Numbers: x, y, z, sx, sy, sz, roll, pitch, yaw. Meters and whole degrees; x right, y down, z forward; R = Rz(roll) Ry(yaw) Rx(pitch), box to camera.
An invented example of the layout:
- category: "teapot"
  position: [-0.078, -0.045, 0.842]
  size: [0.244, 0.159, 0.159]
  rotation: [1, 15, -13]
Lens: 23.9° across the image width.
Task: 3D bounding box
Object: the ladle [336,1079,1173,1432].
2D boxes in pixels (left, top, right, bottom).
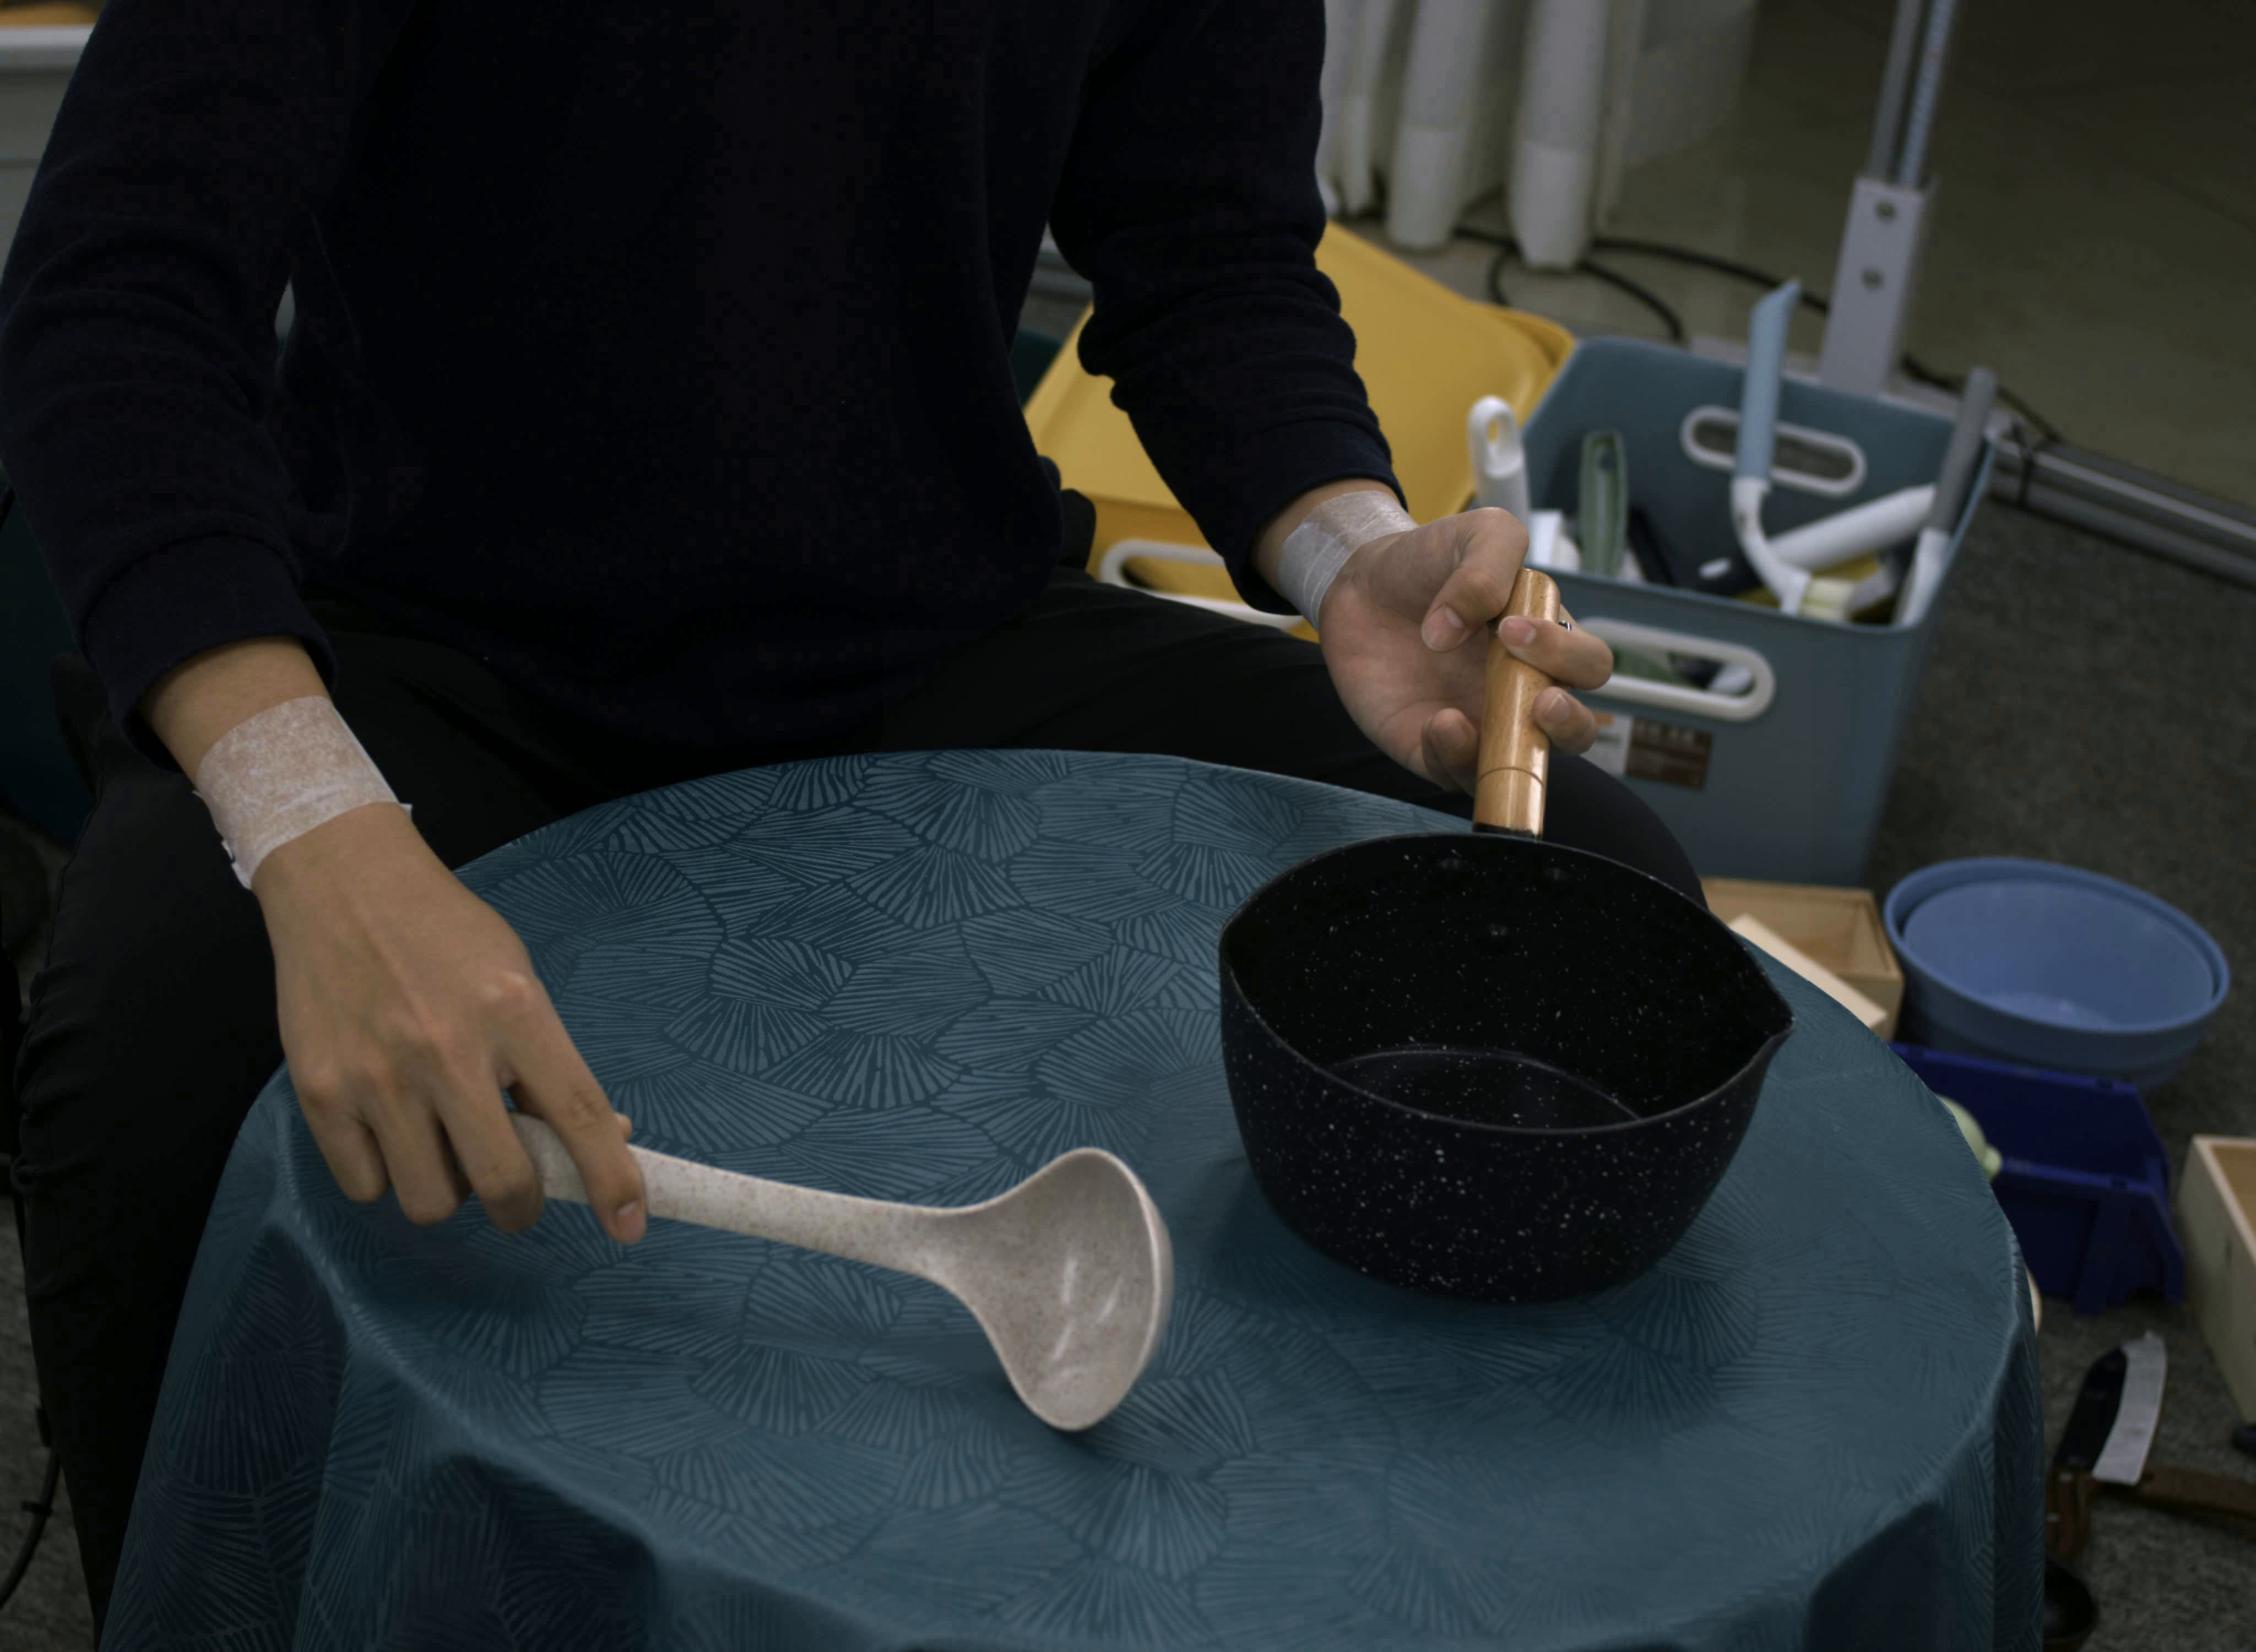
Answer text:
- category: "ladle"
  position: [-0.121, 0.123, 1.667]
  size: [0.274, 0.089, 0.069]
  rotation: [12, 13, 1]

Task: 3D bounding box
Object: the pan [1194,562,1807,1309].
- category: "pan"
  position: [0.128, 0.034, 1.865]
  size: [0.207, 0.108, 0.345]
  rotation: [6, 32, 2]
